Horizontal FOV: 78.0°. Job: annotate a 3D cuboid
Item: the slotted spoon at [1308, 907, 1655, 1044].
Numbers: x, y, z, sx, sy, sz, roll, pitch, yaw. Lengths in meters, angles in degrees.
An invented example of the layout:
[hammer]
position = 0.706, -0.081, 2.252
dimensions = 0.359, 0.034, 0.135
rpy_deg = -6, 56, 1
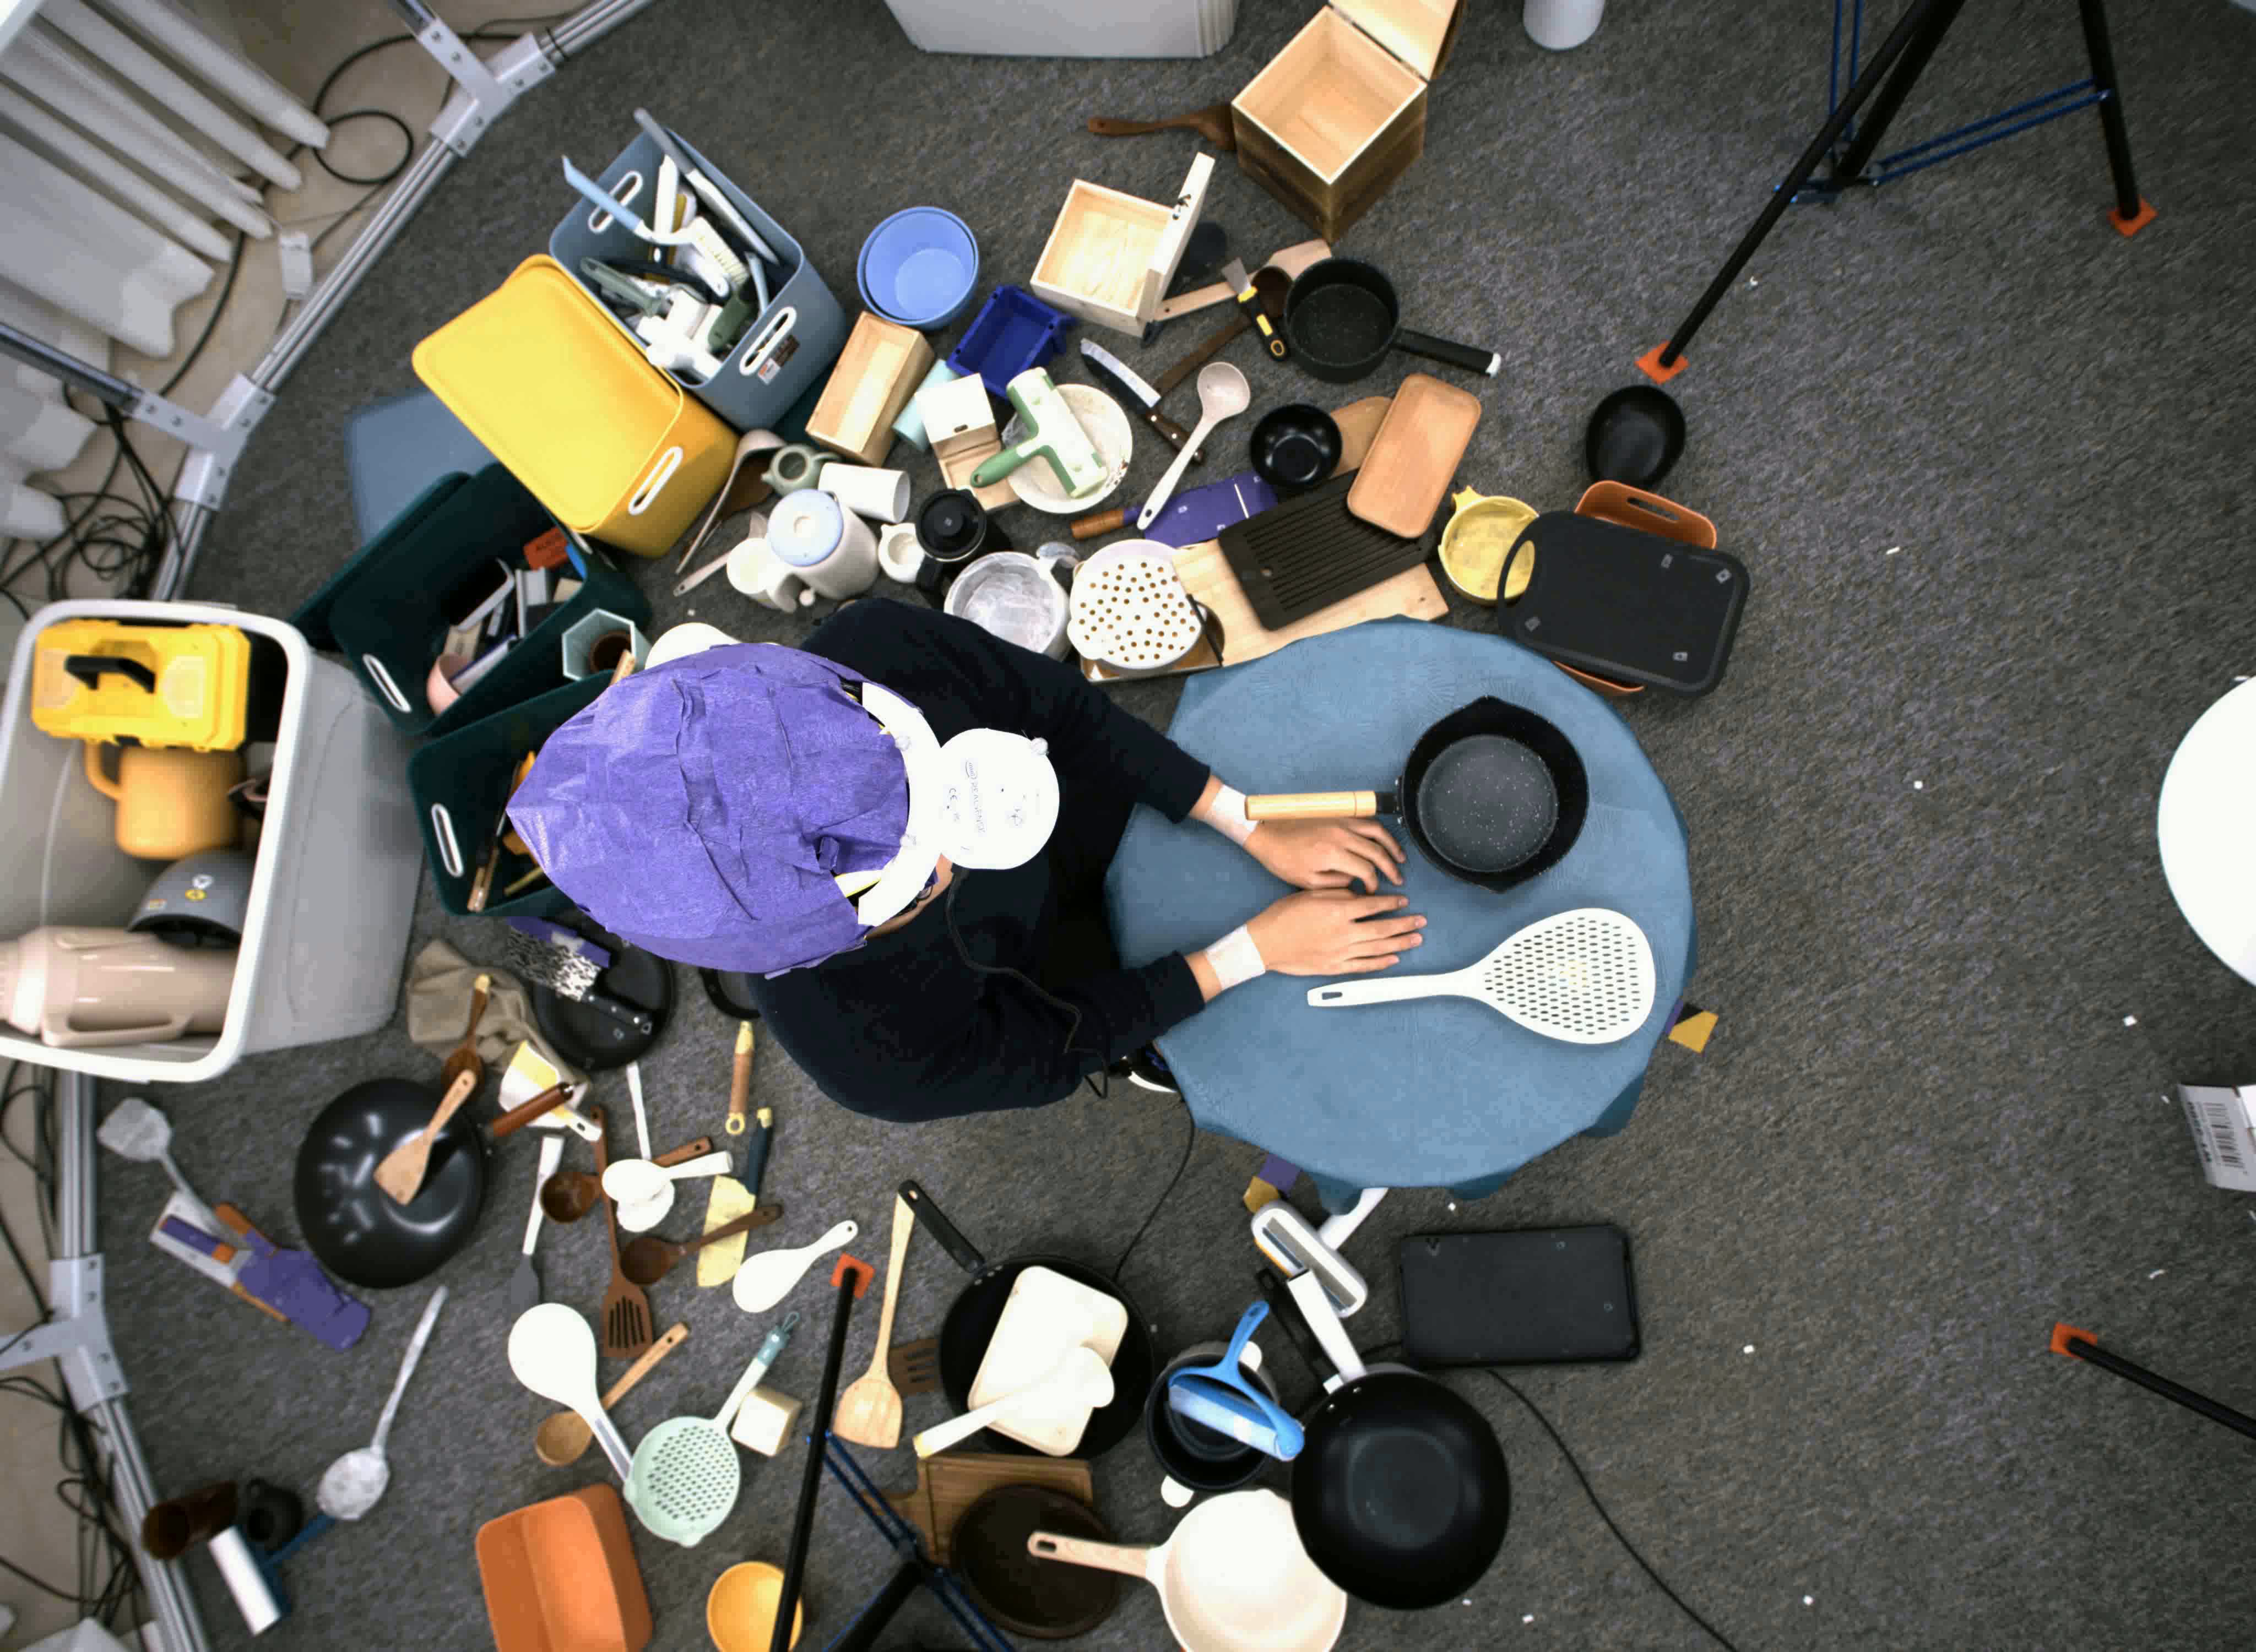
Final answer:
[slotted spoon]
position = 0.358, 0.161, 1.417
dimensions = 0.349, 0.050, 0.136
rpy_deg = -6, 87, 8

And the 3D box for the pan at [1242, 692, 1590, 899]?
[pan]
position = 0.291, -0.024, 1.407
dimensions = 0.344, 0.108, 0.206
rpy_deg = -5, 87, 9
